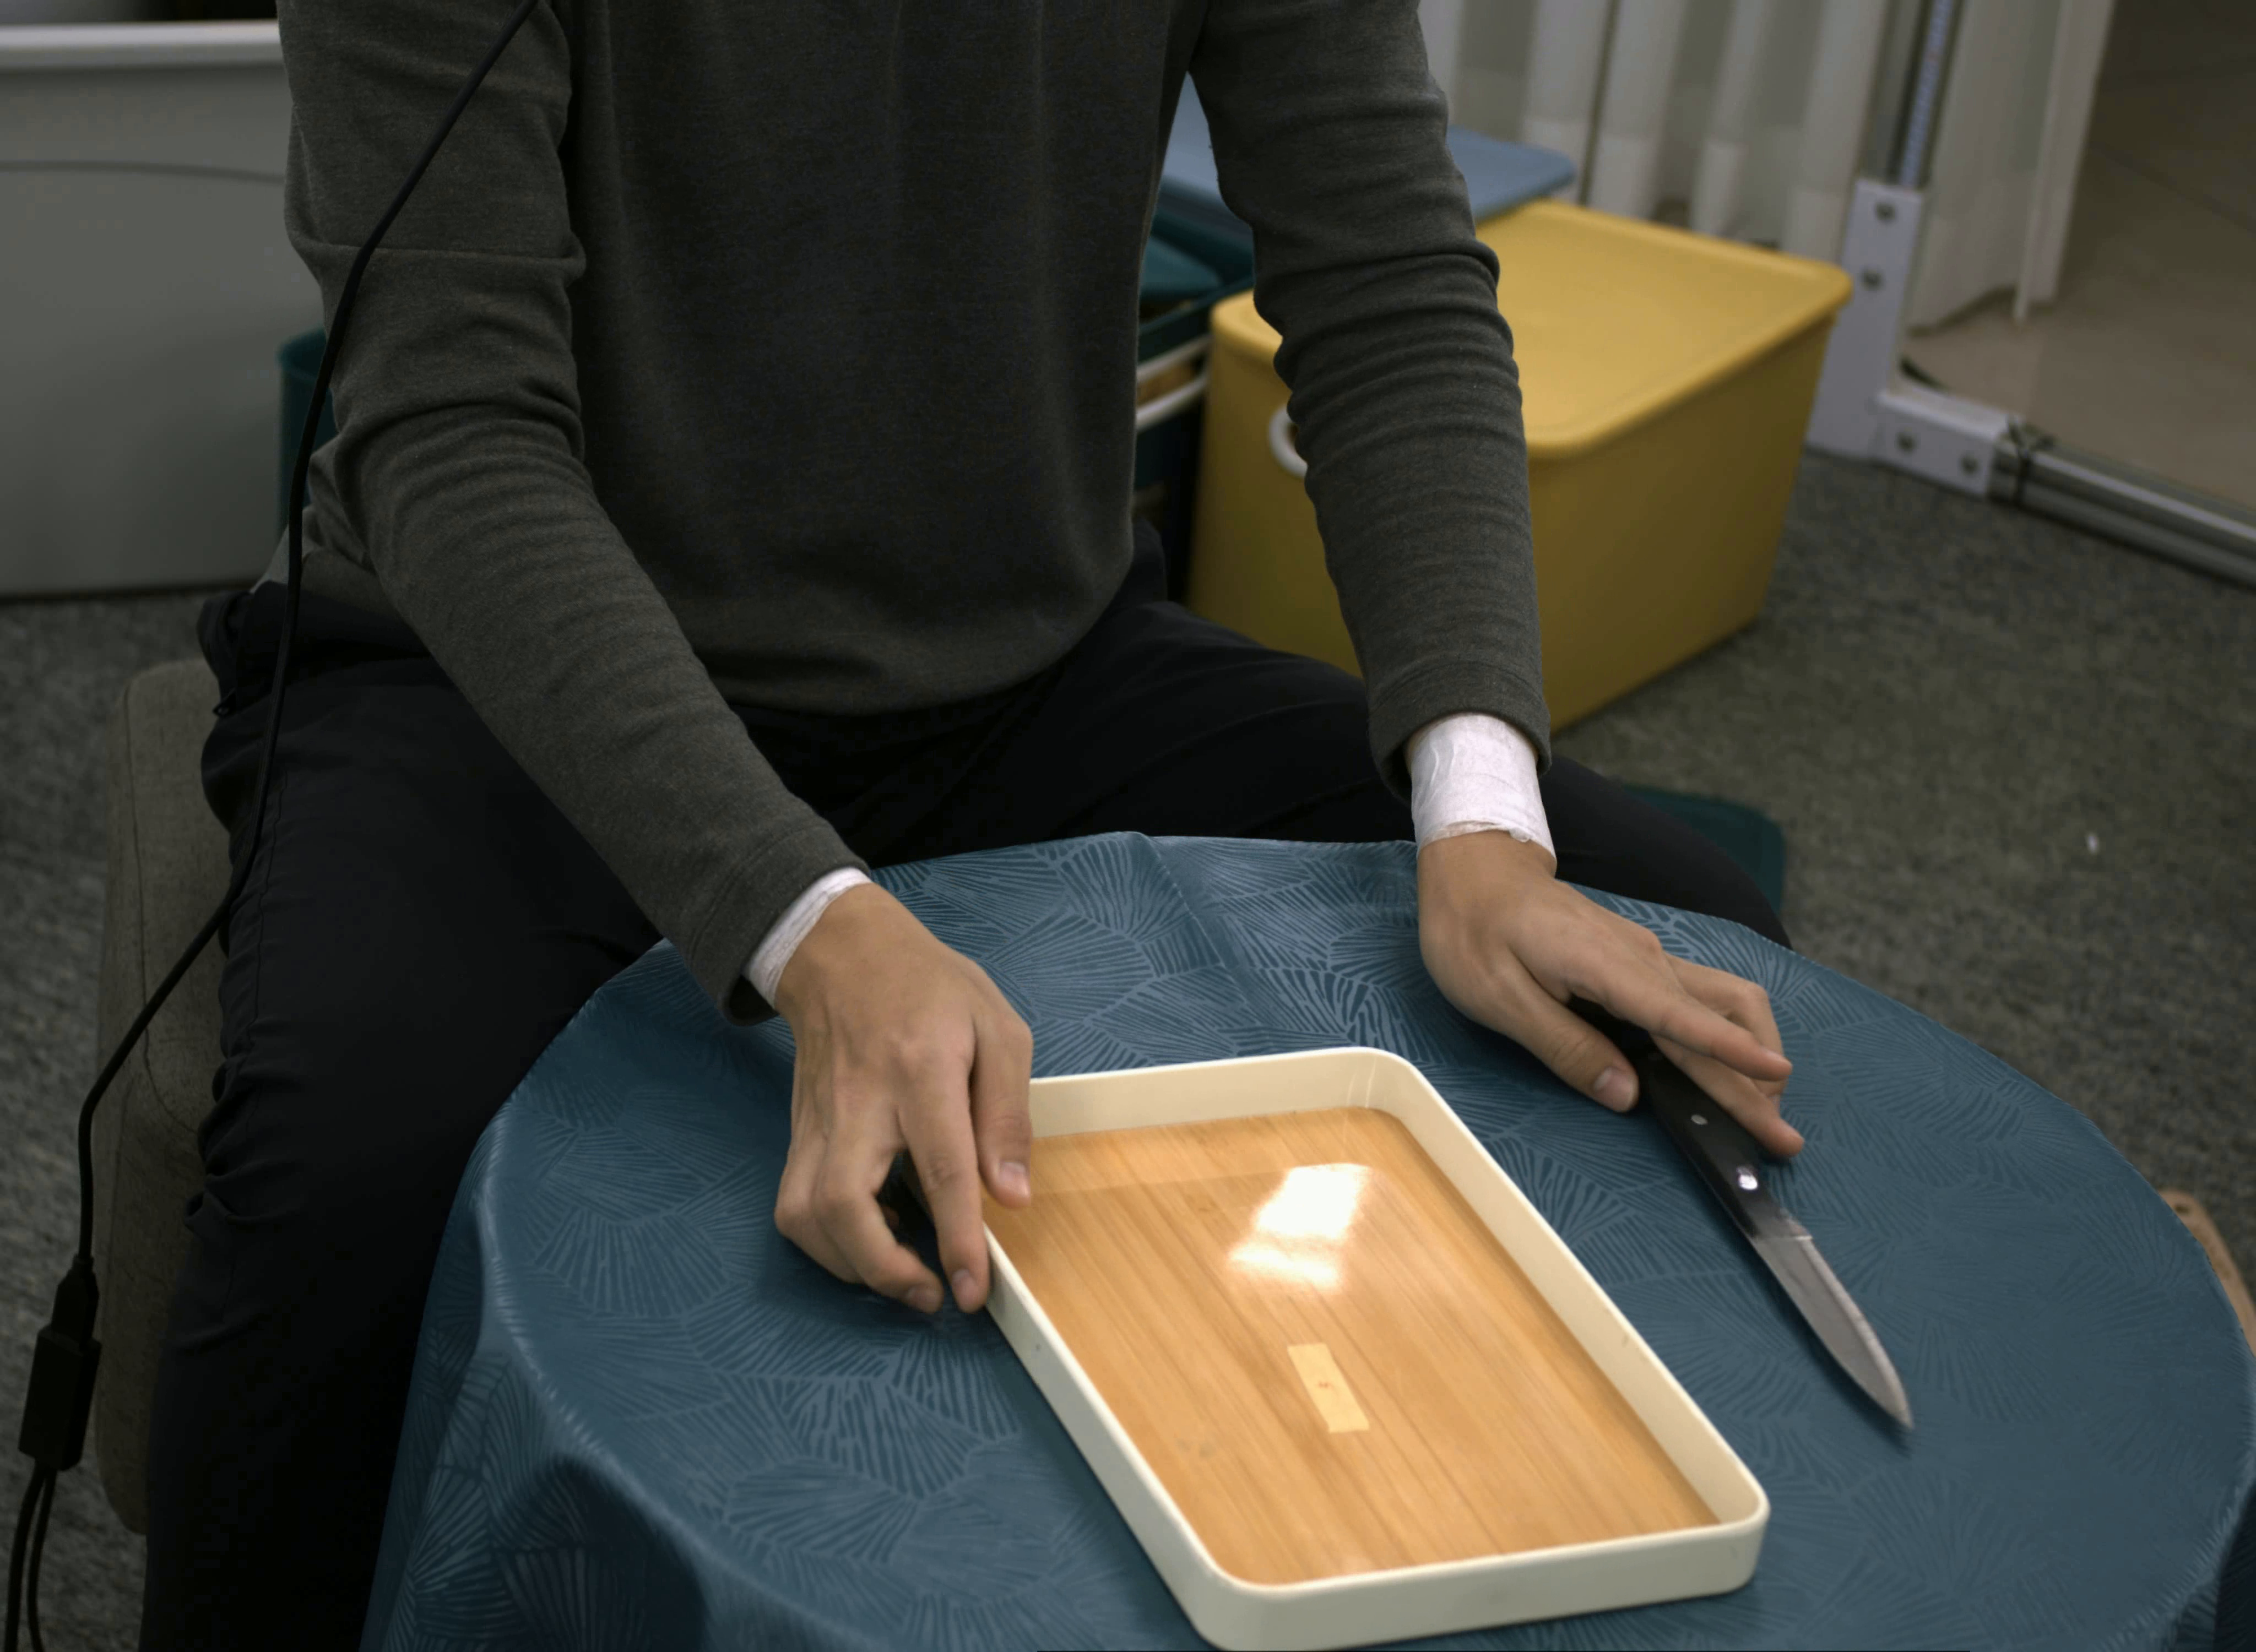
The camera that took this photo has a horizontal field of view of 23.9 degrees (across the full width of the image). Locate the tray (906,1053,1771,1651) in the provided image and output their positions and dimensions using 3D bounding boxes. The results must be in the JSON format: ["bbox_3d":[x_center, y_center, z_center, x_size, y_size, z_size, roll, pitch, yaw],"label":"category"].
[{"bbox_3d":[0.061,0.163,1.713,0.190,0.027,0.303,-3,28,-22],"label":"tray"}]

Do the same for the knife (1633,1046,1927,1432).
[{"bbox_3d":[0.219,0.139,1.808,0.024,0.016,0.240,-6,29,-15],"label":"knife"}]
